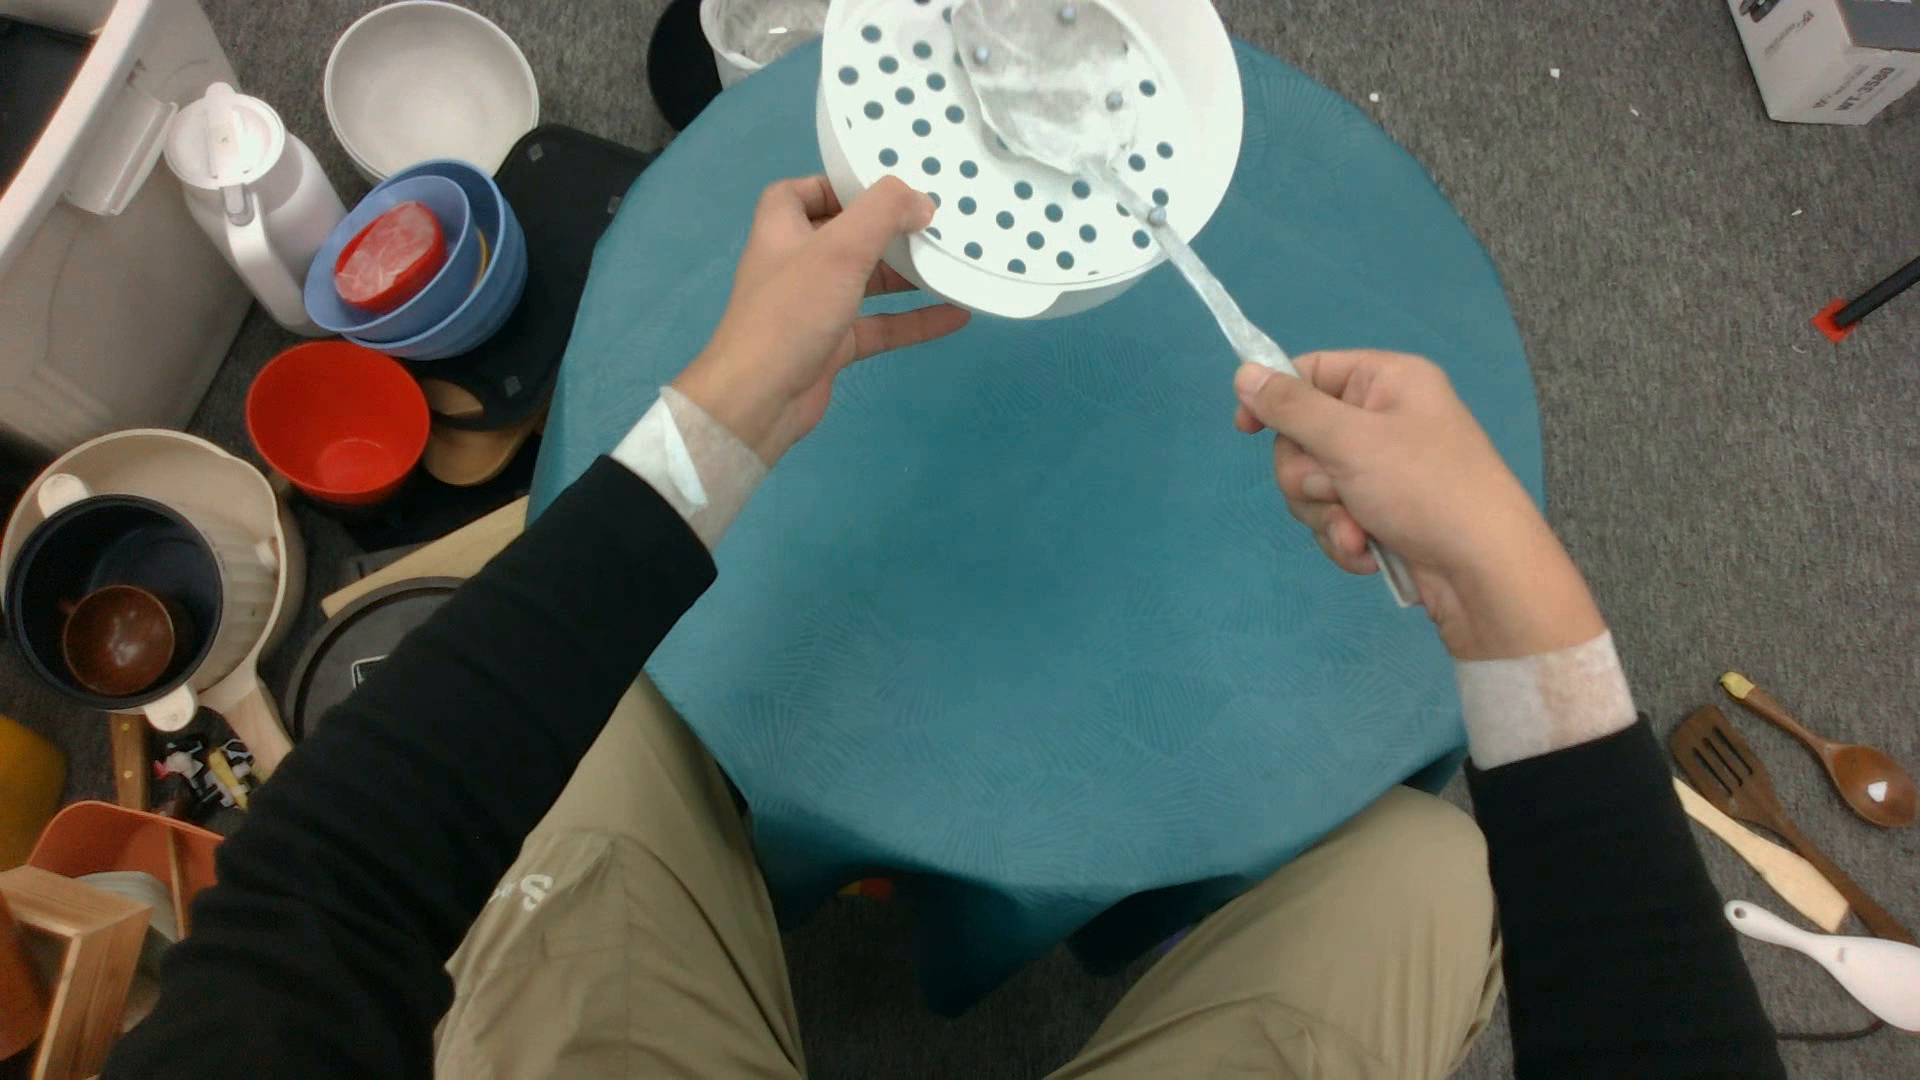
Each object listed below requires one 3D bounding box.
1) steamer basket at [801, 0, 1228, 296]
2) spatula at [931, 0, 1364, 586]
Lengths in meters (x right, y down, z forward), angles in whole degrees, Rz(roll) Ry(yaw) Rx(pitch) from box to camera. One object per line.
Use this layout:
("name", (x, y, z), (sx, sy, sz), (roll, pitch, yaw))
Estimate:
("steamer basket", (0.023, -0.217, 0.659), (0.202, 0.069, 0.231), (18, 77, -10))
("spatula", (0.089, -0.136, 0.610), (0.099, 0.044, 0.366), (-9, 55, -30))
